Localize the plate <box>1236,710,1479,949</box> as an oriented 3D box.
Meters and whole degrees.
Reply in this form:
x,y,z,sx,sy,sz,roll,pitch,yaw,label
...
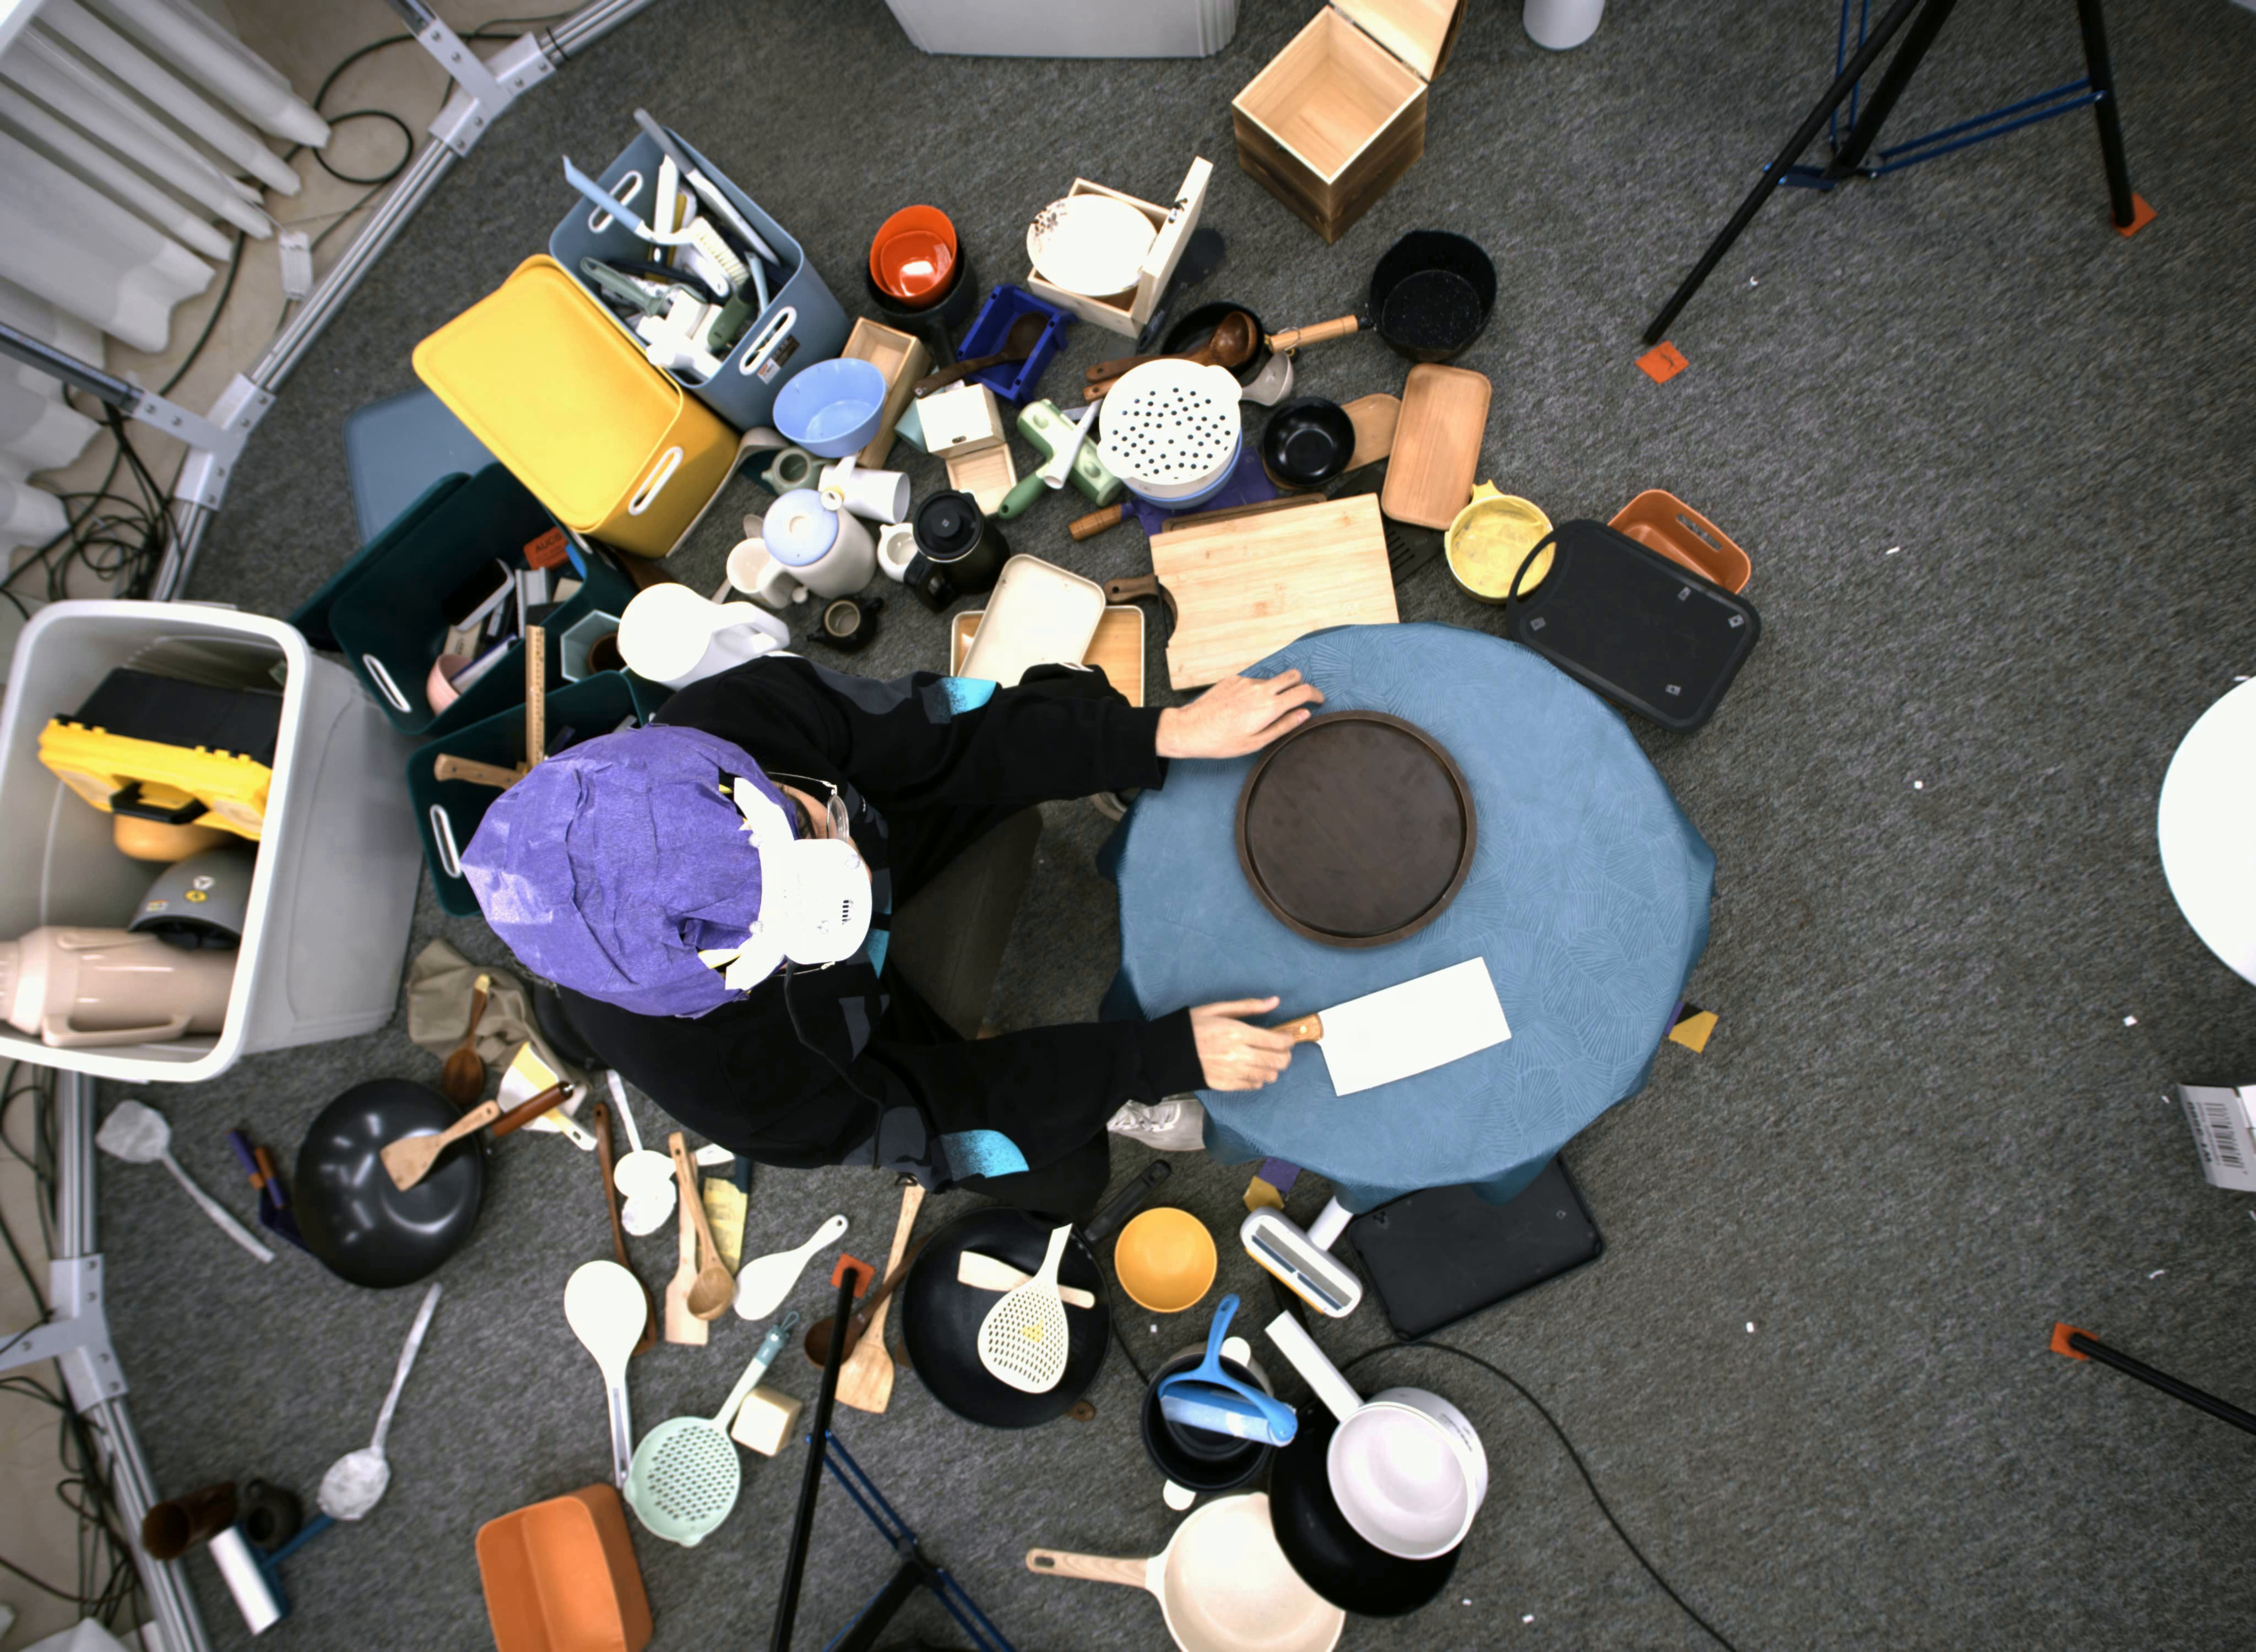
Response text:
x,y,z,sx,sy,sz,roll,pitch,yaw,label
0.240,0.002,1.456,0.256,0.029,0.254,-1,88,9,plate

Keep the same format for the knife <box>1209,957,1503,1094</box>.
x,y,z,sx,sy,sz,roll,pitch,yaw,label
0.240,0.225,1.449,0.307,0.021,0.092,-20,85,7,knife
